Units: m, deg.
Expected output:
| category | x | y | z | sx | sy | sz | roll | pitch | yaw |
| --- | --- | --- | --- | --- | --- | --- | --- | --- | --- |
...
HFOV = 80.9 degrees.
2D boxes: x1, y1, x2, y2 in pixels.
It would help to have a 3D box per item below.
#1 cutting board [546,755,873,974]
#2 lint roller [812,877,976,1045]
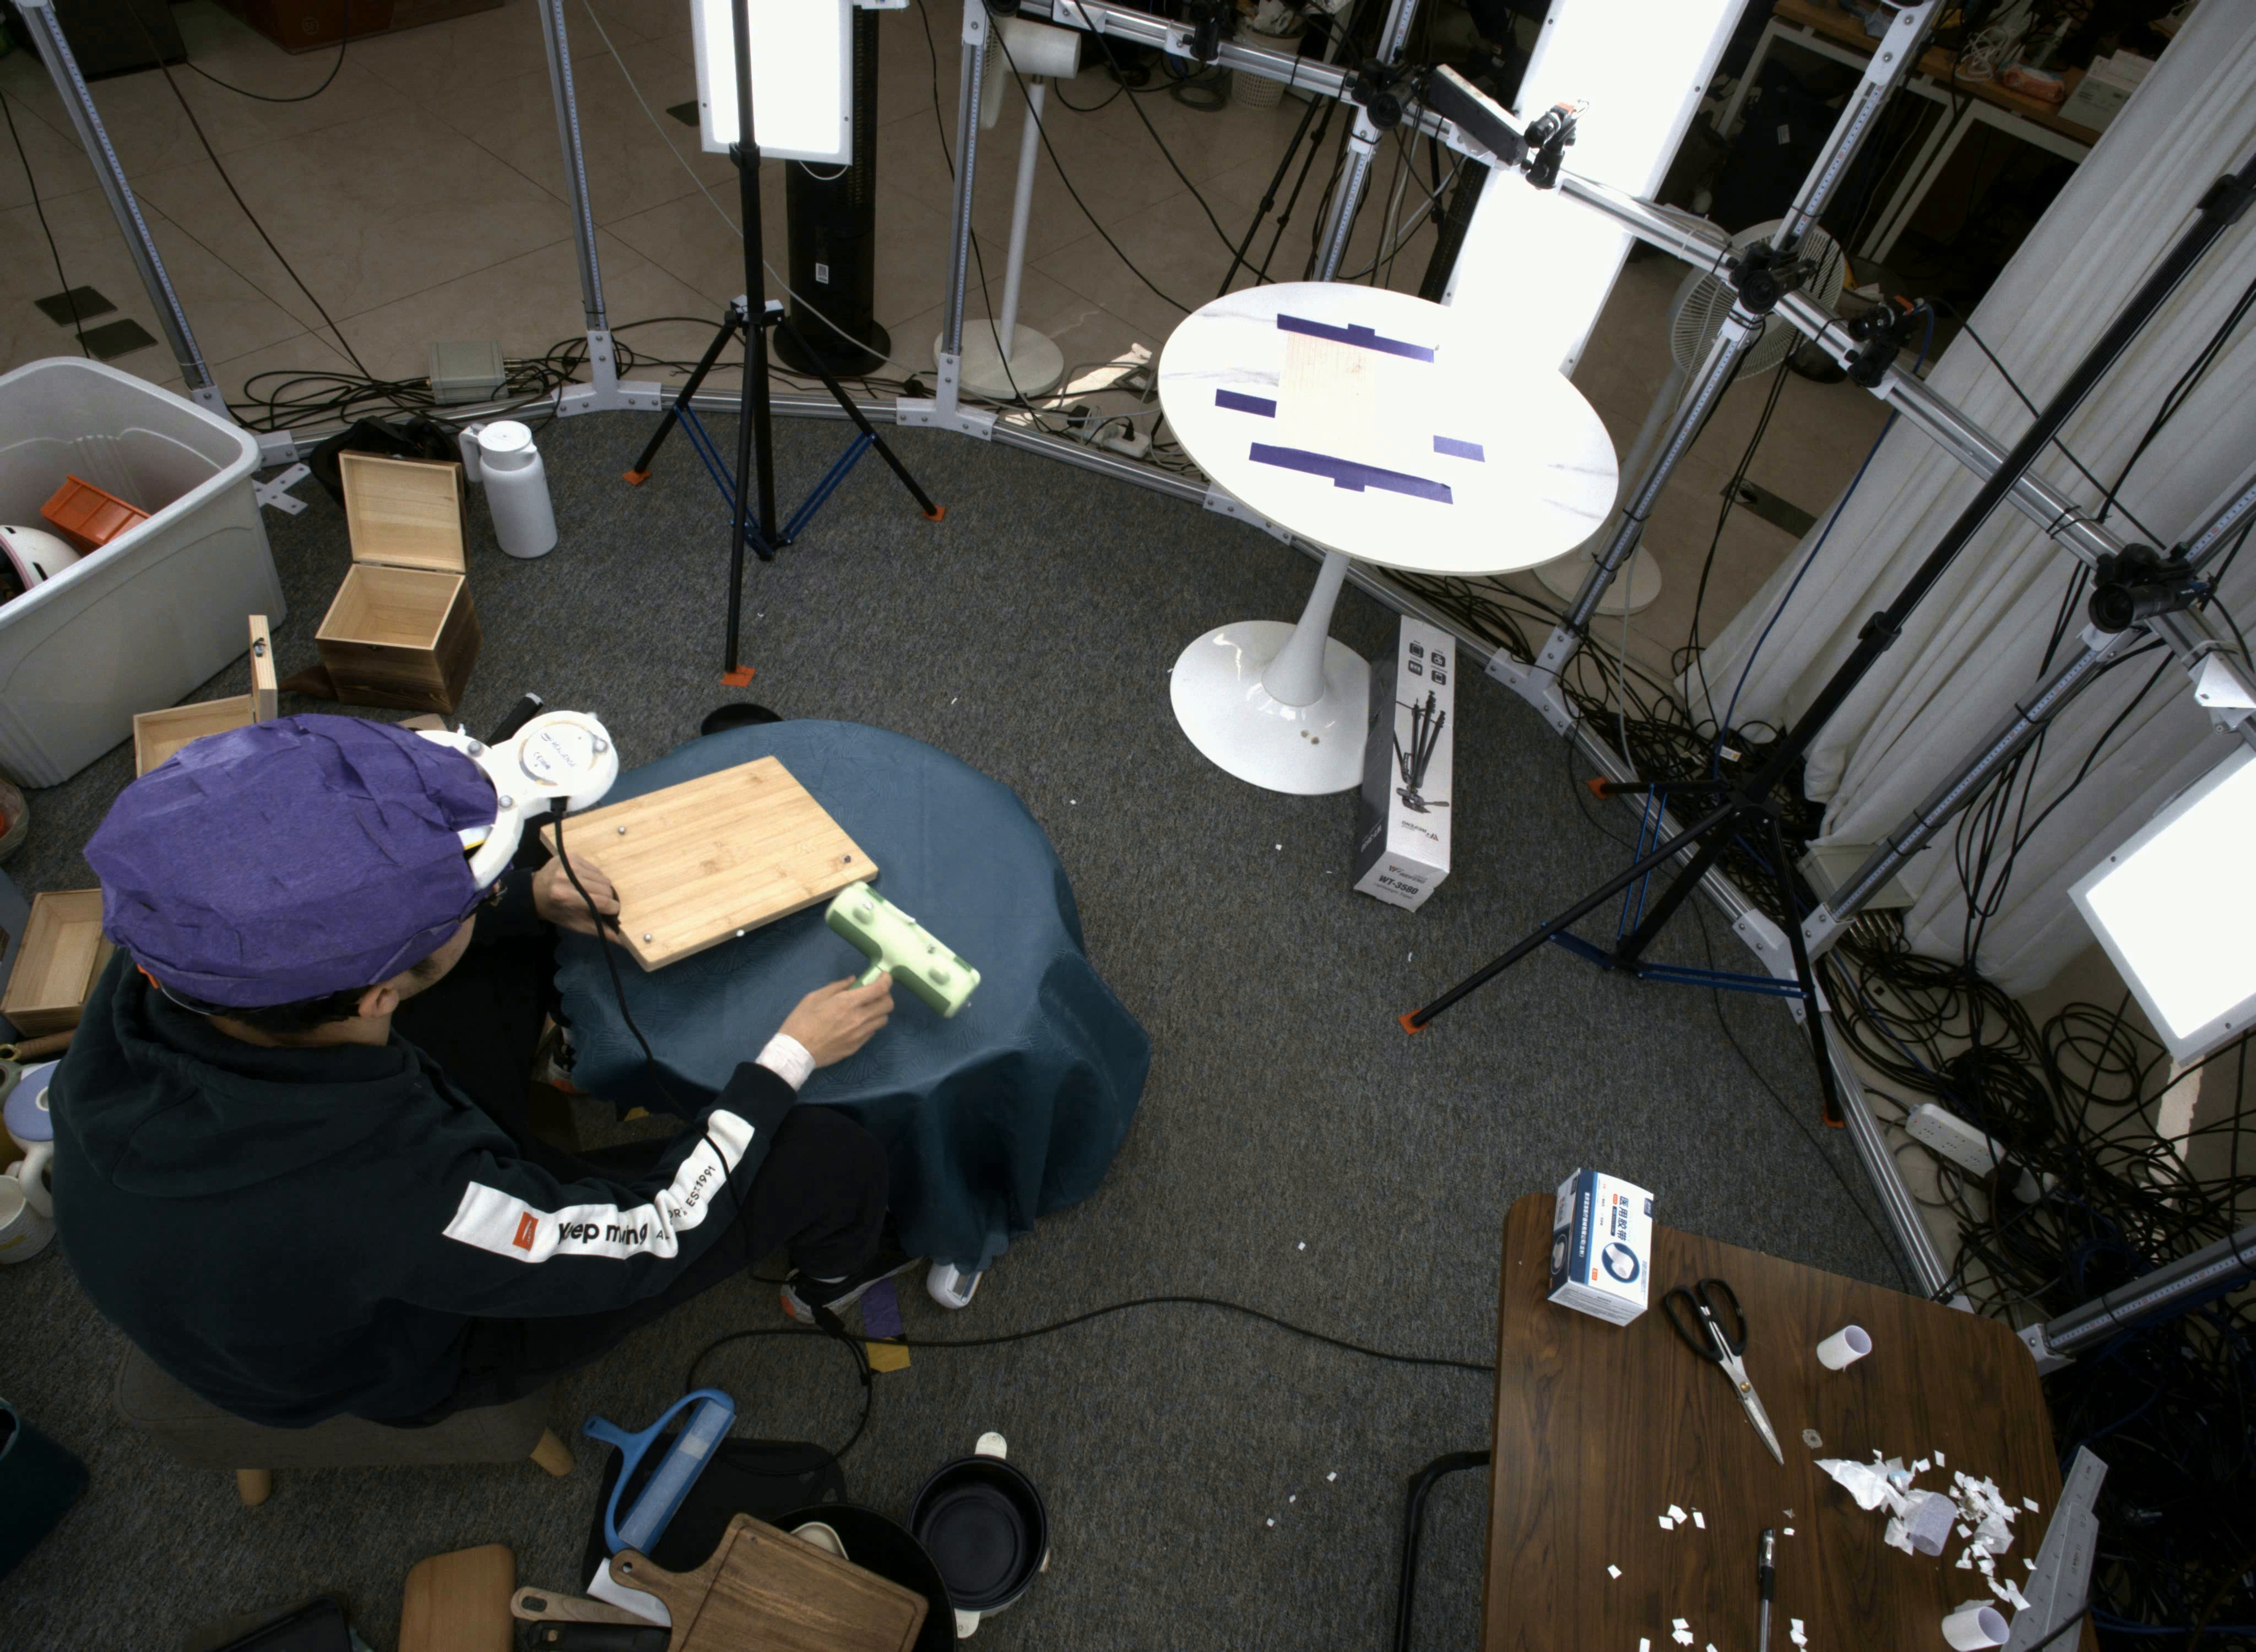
| category | x | y | z | sx | sy | sz | roll | pitch | yaw |
| --- | --- | --- | --- | --- | --- | --- | --- | --- | --- |
| cutting board | -0.521 | 0.034 | 1.608 | 0.245 | 0.024 | 0.351 | 44 | 40 | 18 |
| lint roller | -0.303 | 0.174 | 1.518 | 0.198 | 0.082 | 0.183 | 39 | 54 | 0 |
